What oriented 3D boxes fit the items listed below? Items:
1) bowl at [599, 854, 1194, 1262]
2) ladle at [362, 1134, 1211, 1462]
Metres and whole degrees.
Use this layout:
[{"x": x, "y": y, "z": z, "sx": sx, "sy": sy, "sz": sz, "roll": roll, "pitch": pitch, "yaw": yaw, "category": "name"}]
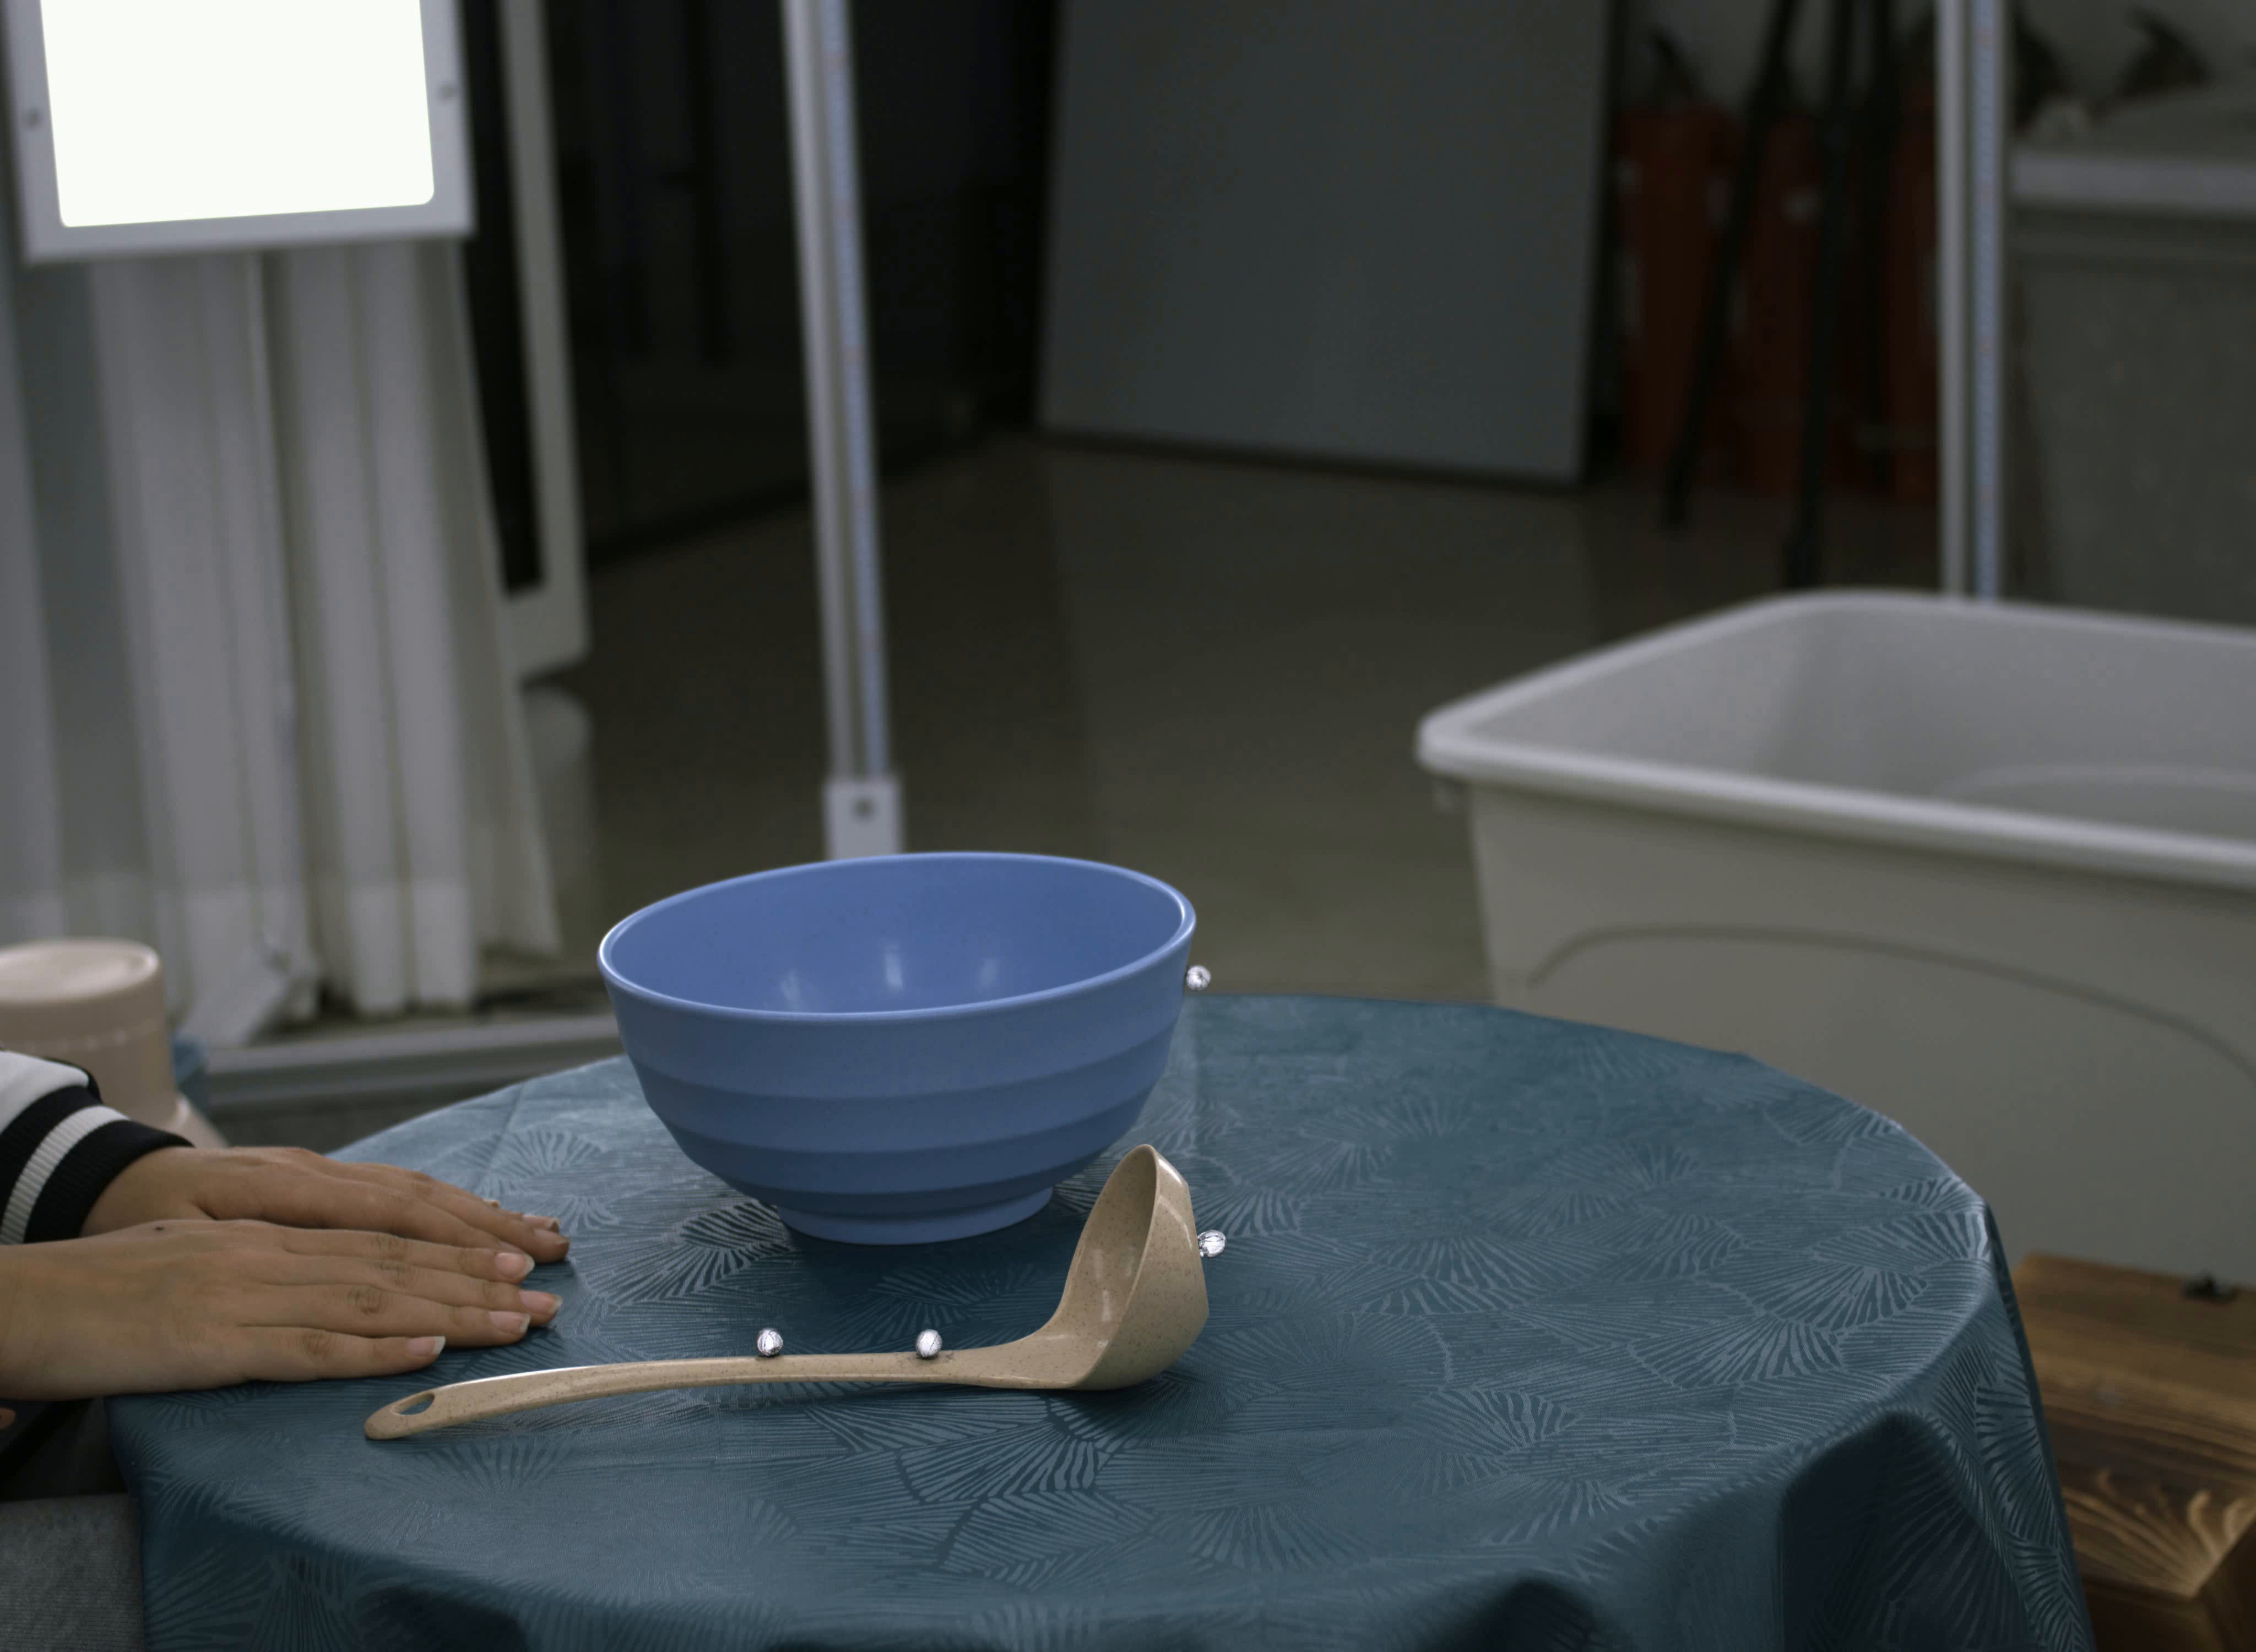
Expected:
[{"x": -0.072, "y": 0.082, "z": 1.765, "sx": 0.194, "sy": 0.096, "sz": 0.197, "roll": -5, "pitch": 15, "yaw": 0, "category": "bowl"}, {"x": -0.101, "y": 0.138, "z": 1.580, "sx": 0.251, "sy": 0.073, "sz": 0.072, "roll": -6, "pitch": 25, "yaw": -3, "category": "ladle"}]
